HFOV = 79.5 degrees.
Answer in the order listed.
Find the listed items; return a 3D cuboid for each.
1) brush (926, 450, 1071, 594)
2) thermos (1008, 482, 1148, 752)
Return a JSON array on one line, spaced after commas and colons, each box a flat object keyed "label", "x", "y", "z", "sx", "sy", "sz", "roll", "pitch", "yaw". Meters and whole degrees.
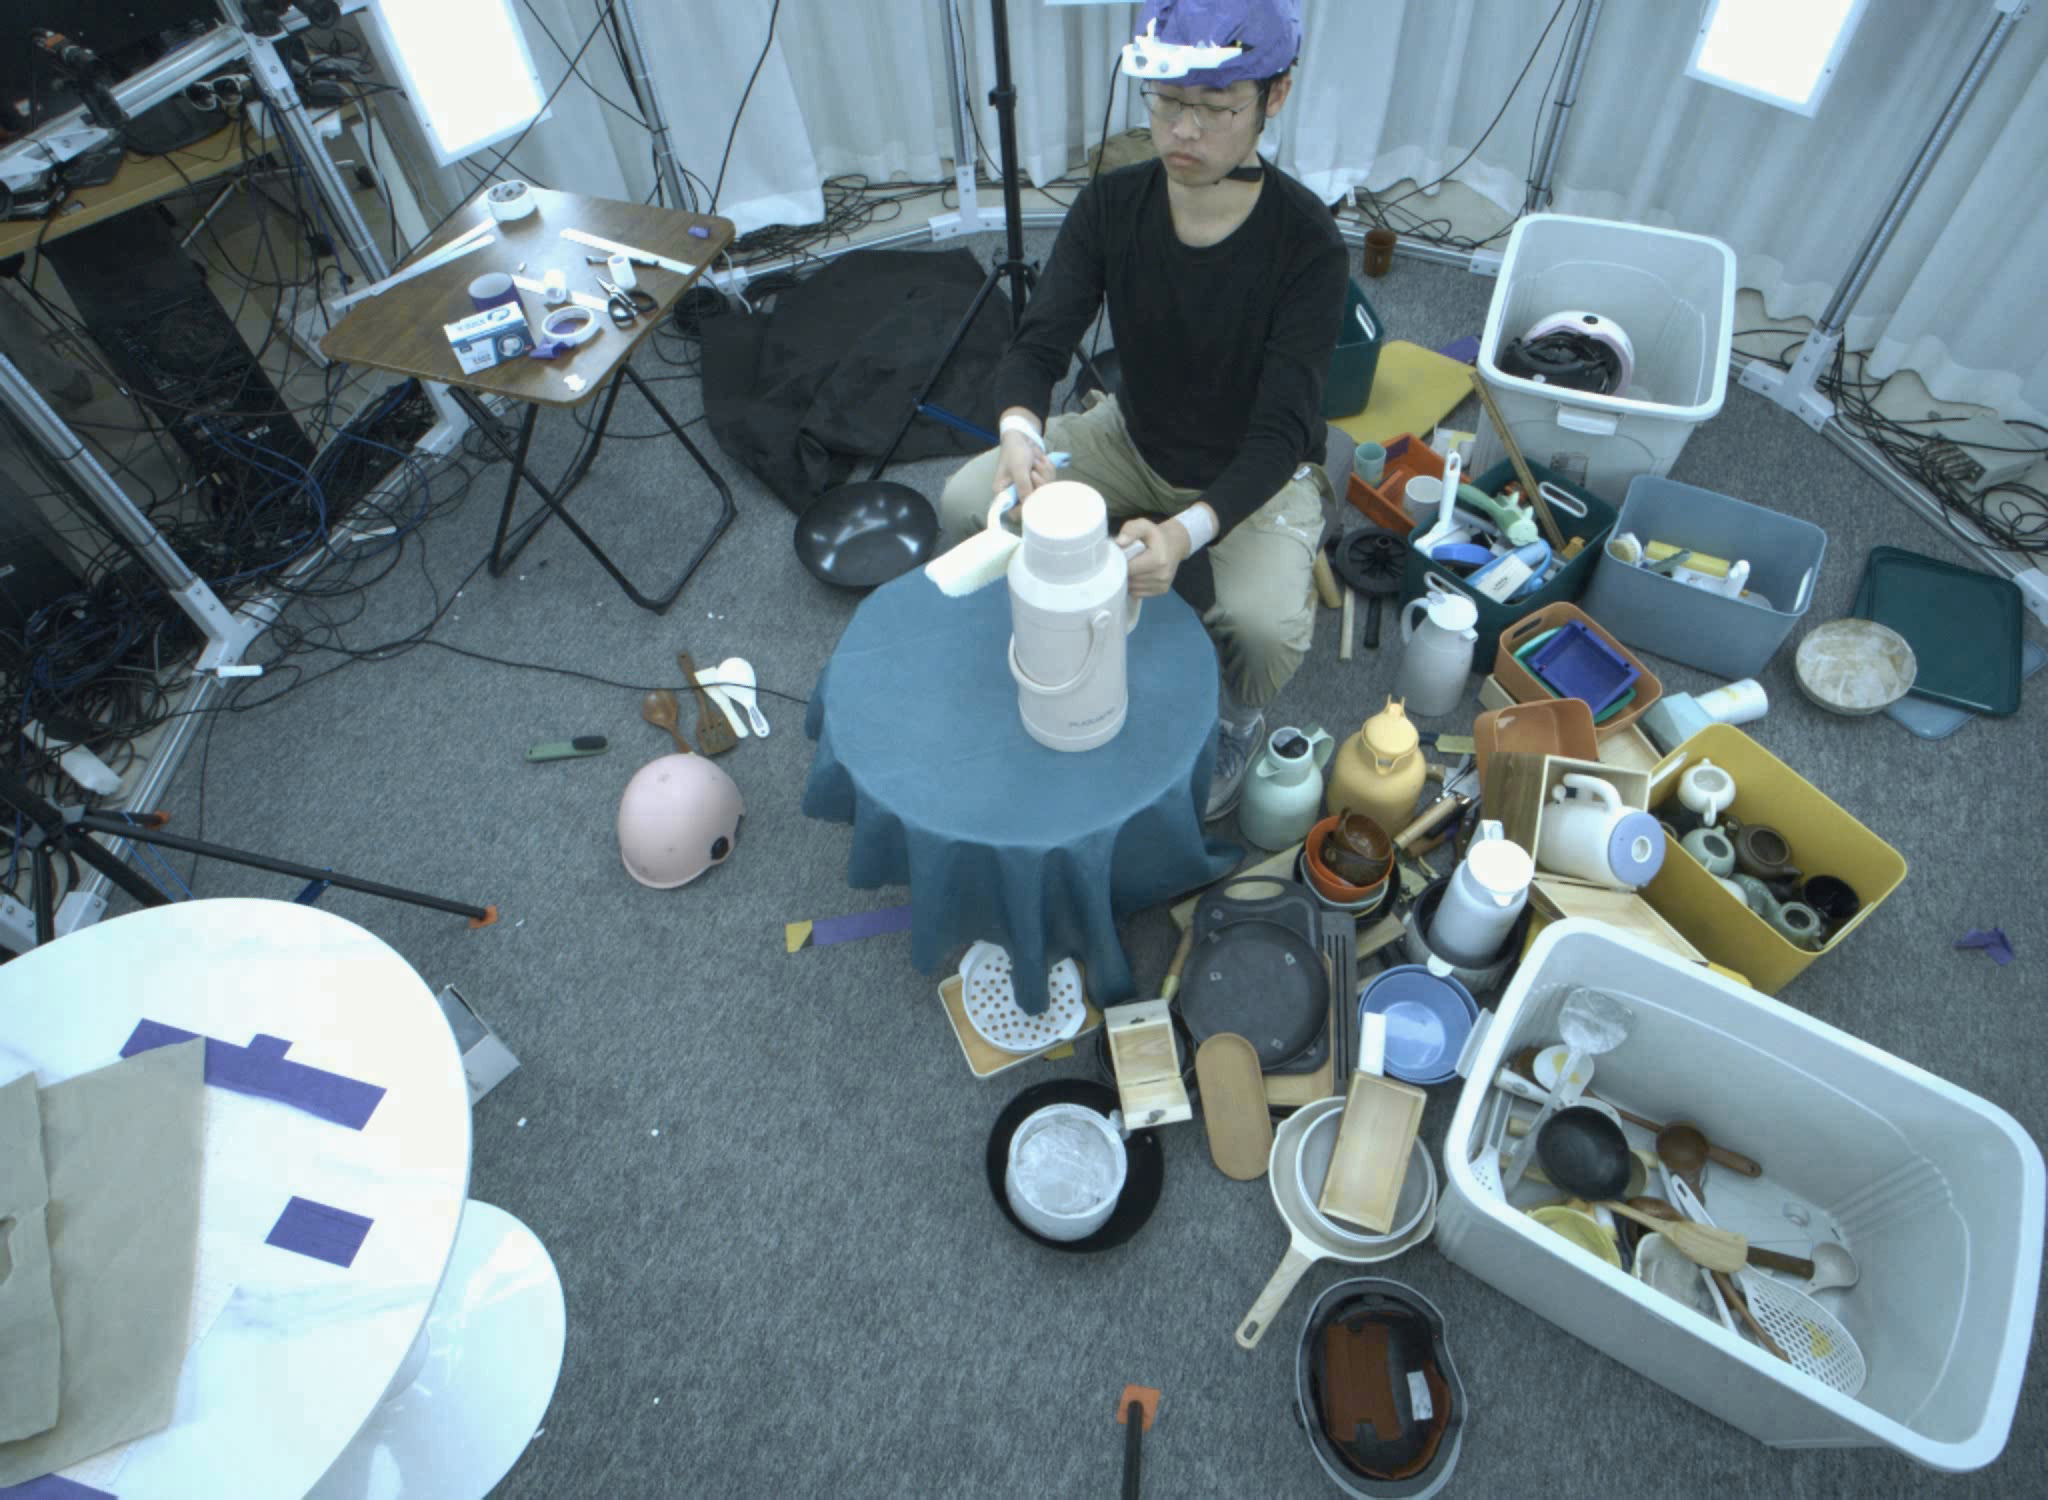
[{"label": "brush", "x": -0.006, "y": -0.309, "z": 1.652, "sx": 0.081, "sy": 0.086, "sz": 0.327, "roll": -6, "pitch": 33, "yaw": 49}, {"label": "thermos", "x": 0.076, "y": -0.181, "z": 1.669, "sx": 0.208, "sy": 0.411, "sz": 0.172, "roll": -28, "pitch": 56, "yaw": -15}]
